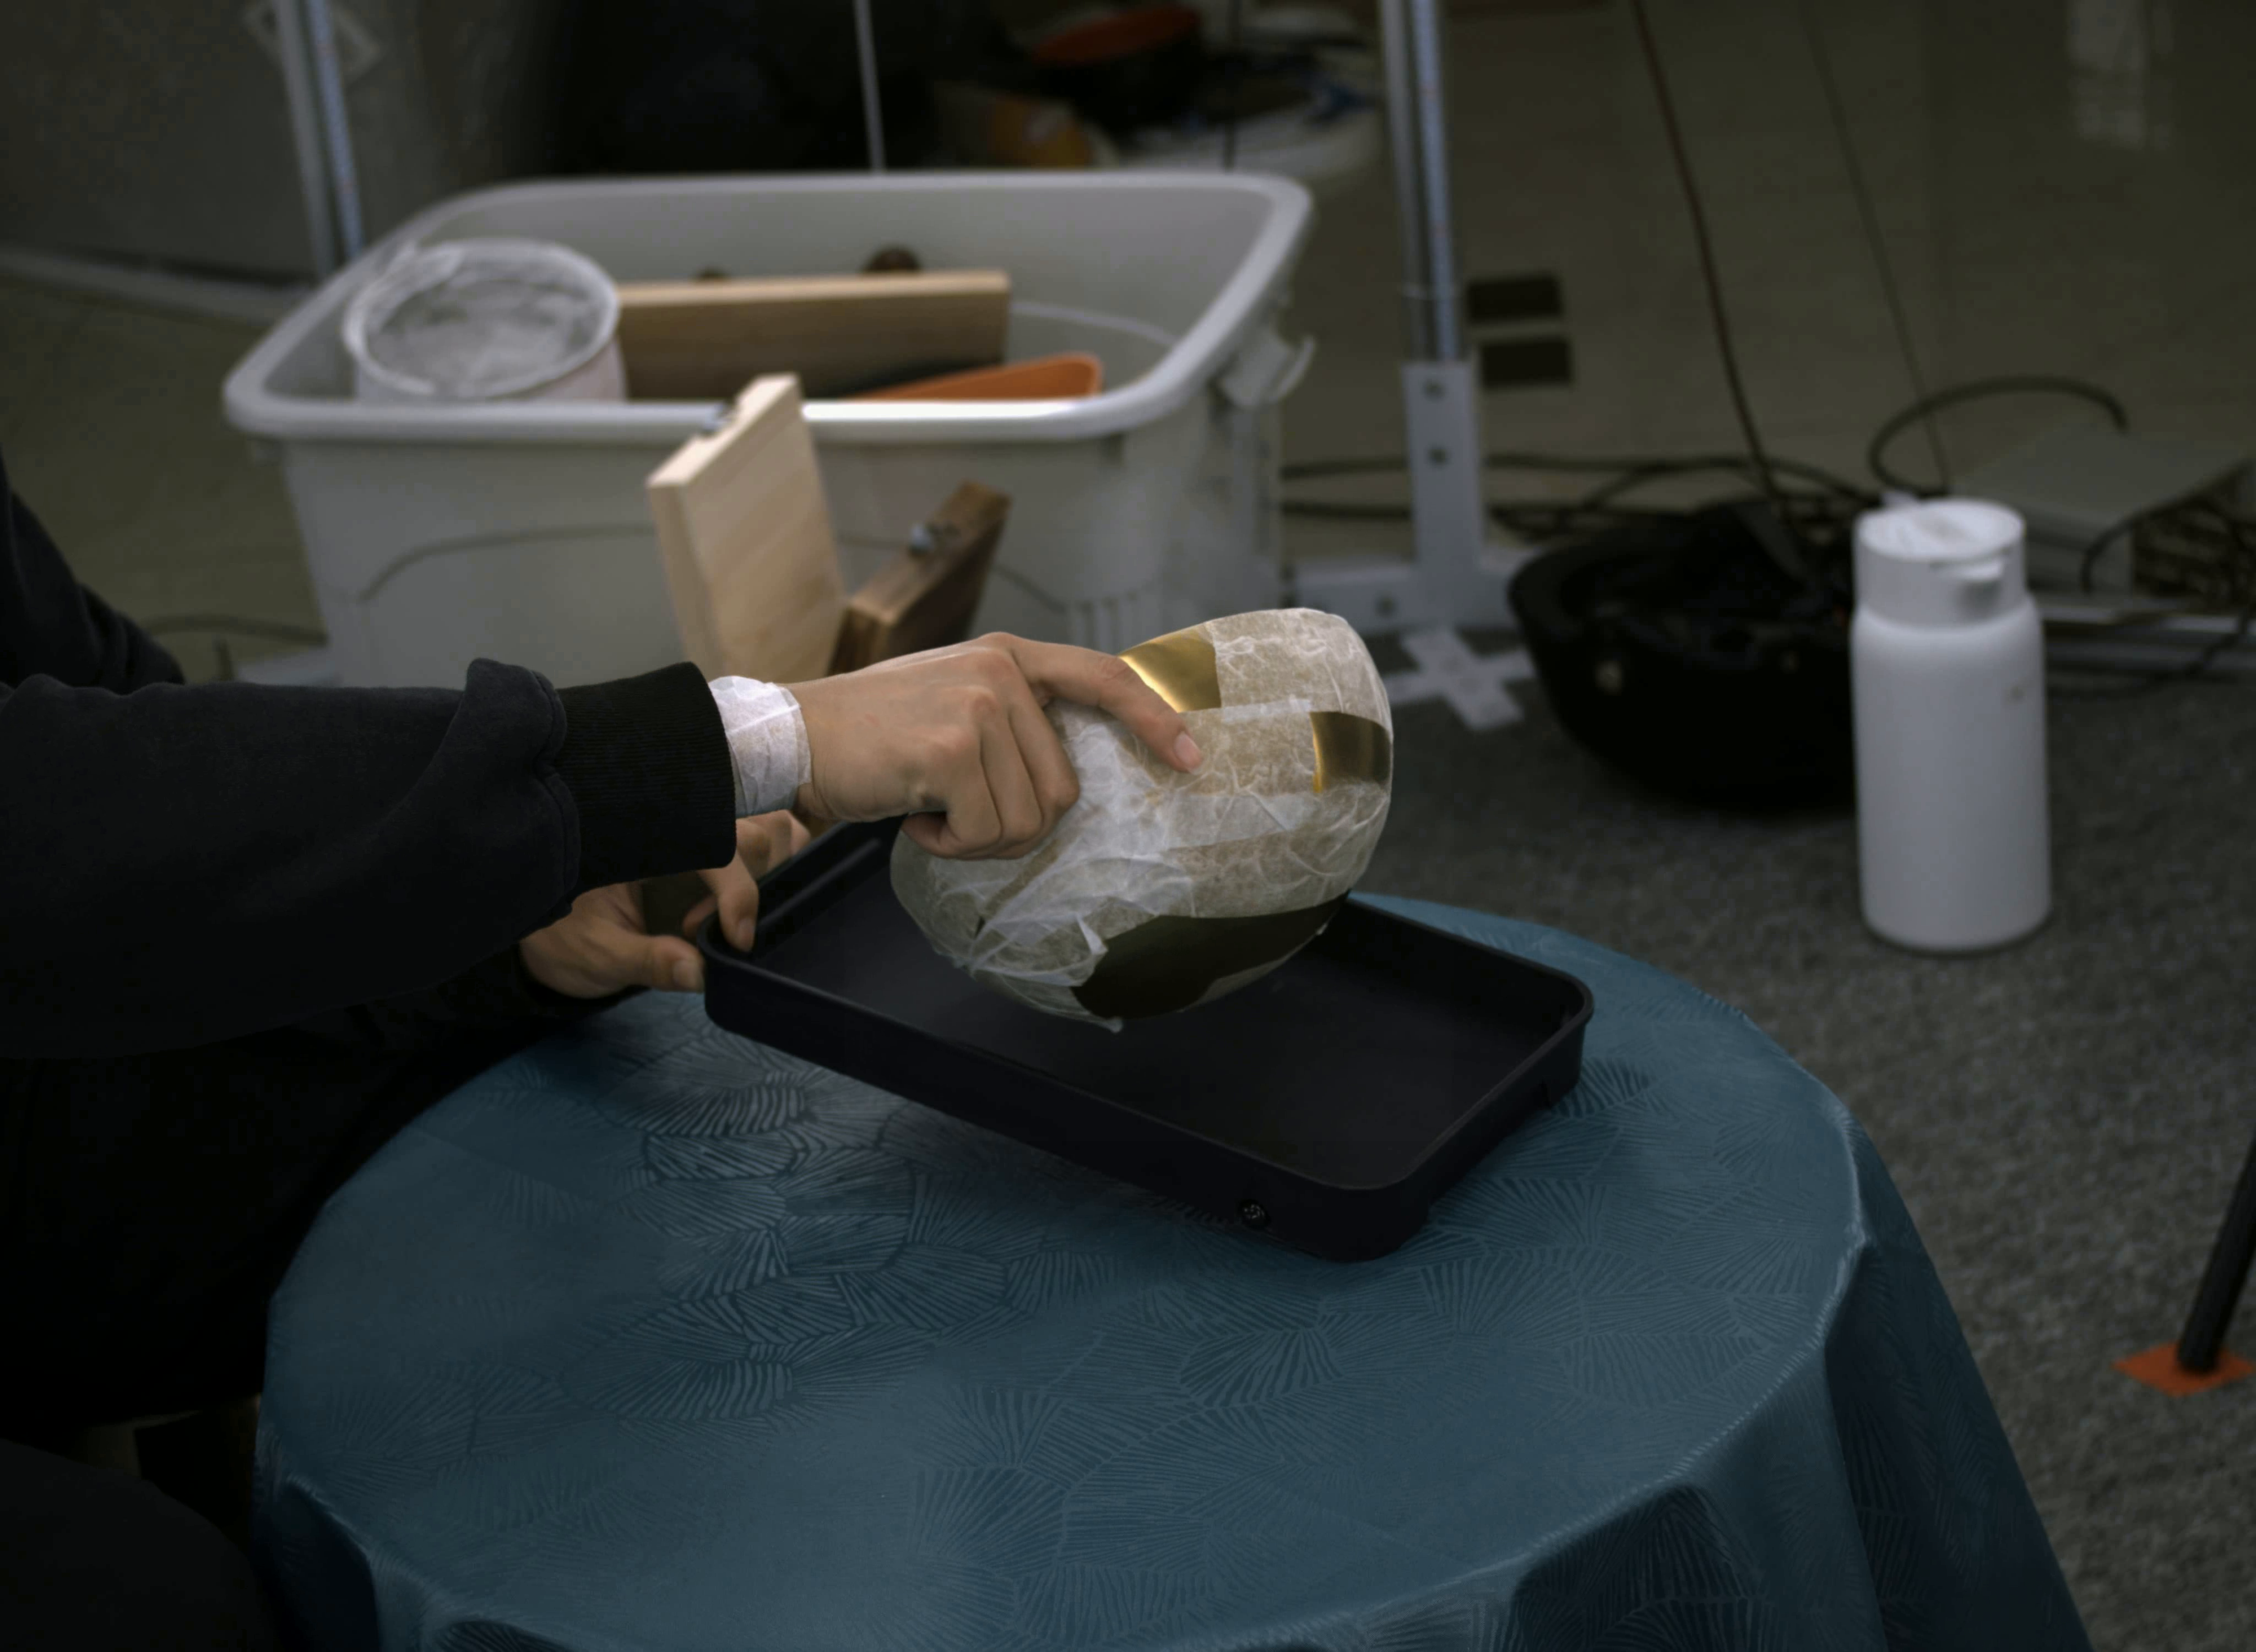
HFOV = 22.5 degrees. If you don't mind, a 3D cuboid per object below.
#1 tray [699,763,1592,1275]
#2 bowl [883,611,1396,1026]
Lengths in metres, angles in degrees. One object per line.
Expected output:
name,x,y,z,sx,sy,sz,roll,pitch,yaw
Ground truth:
tray,0.005,0.070,2.201,0.315,0.038,0.182,22,35,27
bowl,0.017,0.016,2.137,0.213,0.218,0.093,-18,67,-24
